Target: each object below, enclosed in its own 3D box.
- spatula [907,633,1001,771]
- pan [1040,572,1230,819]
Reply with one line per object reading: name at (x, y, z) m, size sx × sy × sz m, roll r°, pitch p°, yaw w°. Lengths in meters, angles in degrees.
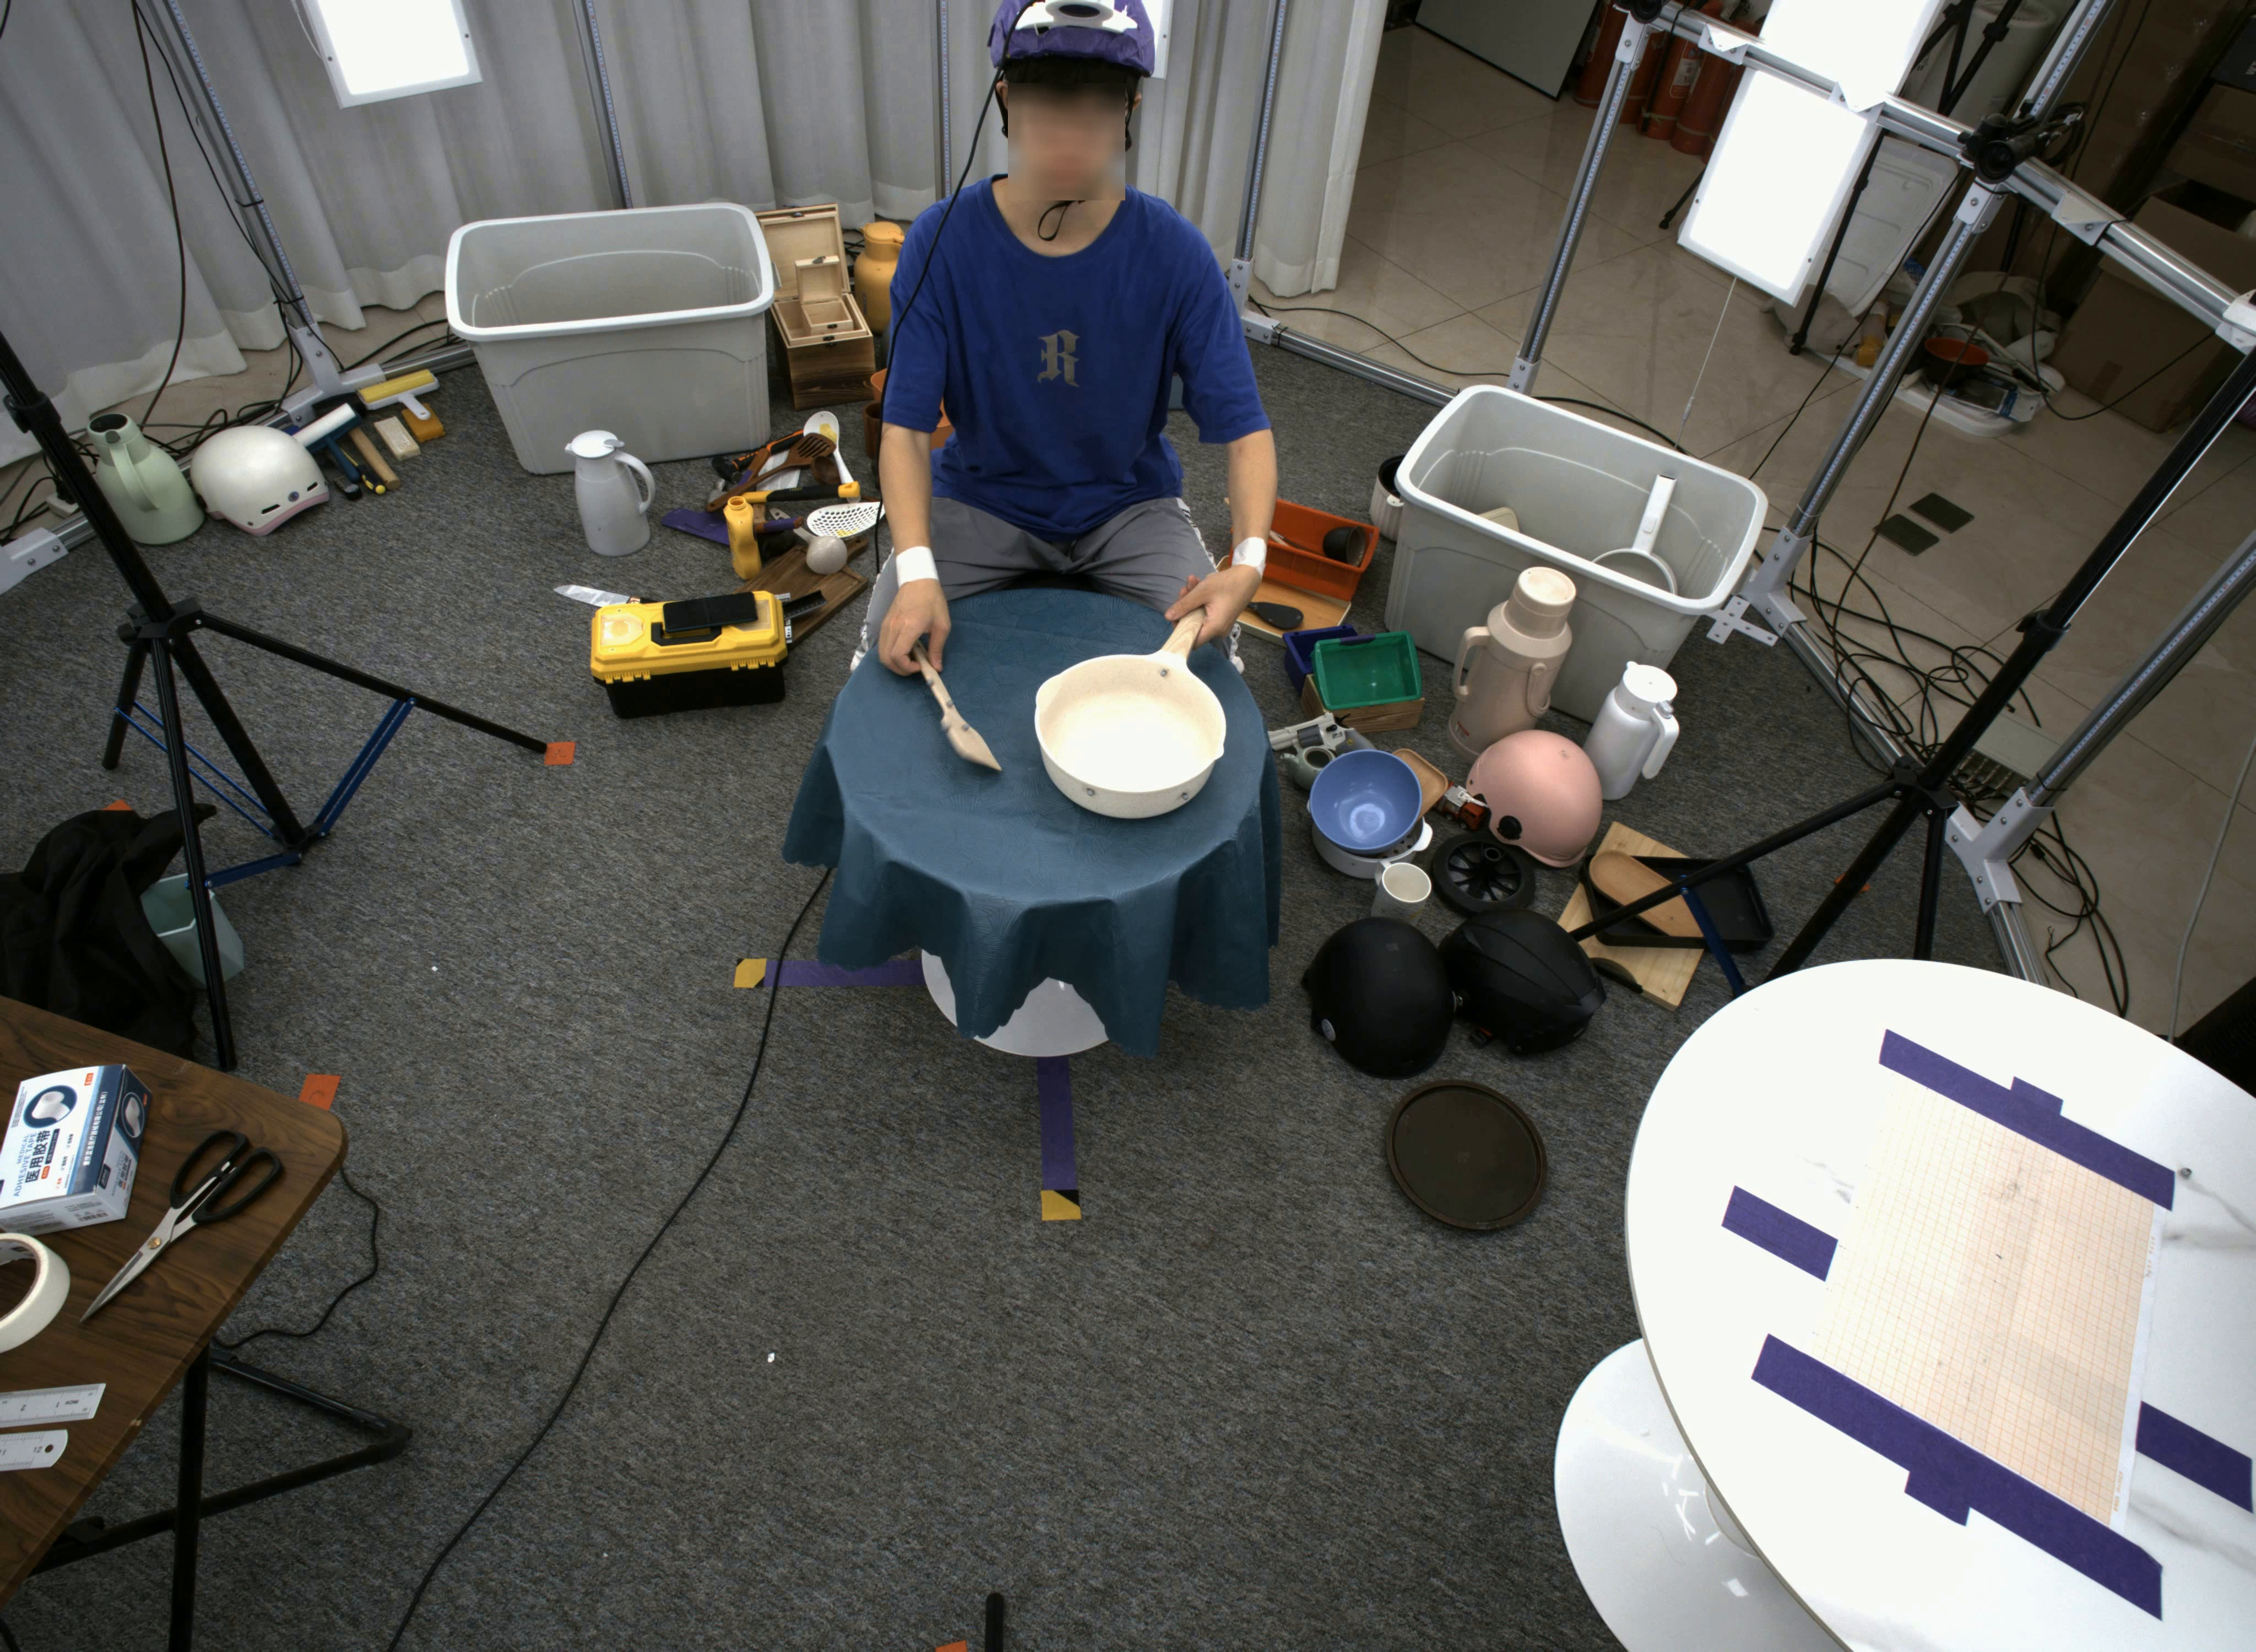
spatula at (-0.254, -0.178, 1.788) m, size 0.071 × 0.010 × 0.300 m, roll 12°, pitch 36°, yaw -41°
pan at (0.044, -0.183, 1.769) m, size 0.265 × 0.099 × 0.443 m, roll 19°, pitch 51°, yaw 14°
